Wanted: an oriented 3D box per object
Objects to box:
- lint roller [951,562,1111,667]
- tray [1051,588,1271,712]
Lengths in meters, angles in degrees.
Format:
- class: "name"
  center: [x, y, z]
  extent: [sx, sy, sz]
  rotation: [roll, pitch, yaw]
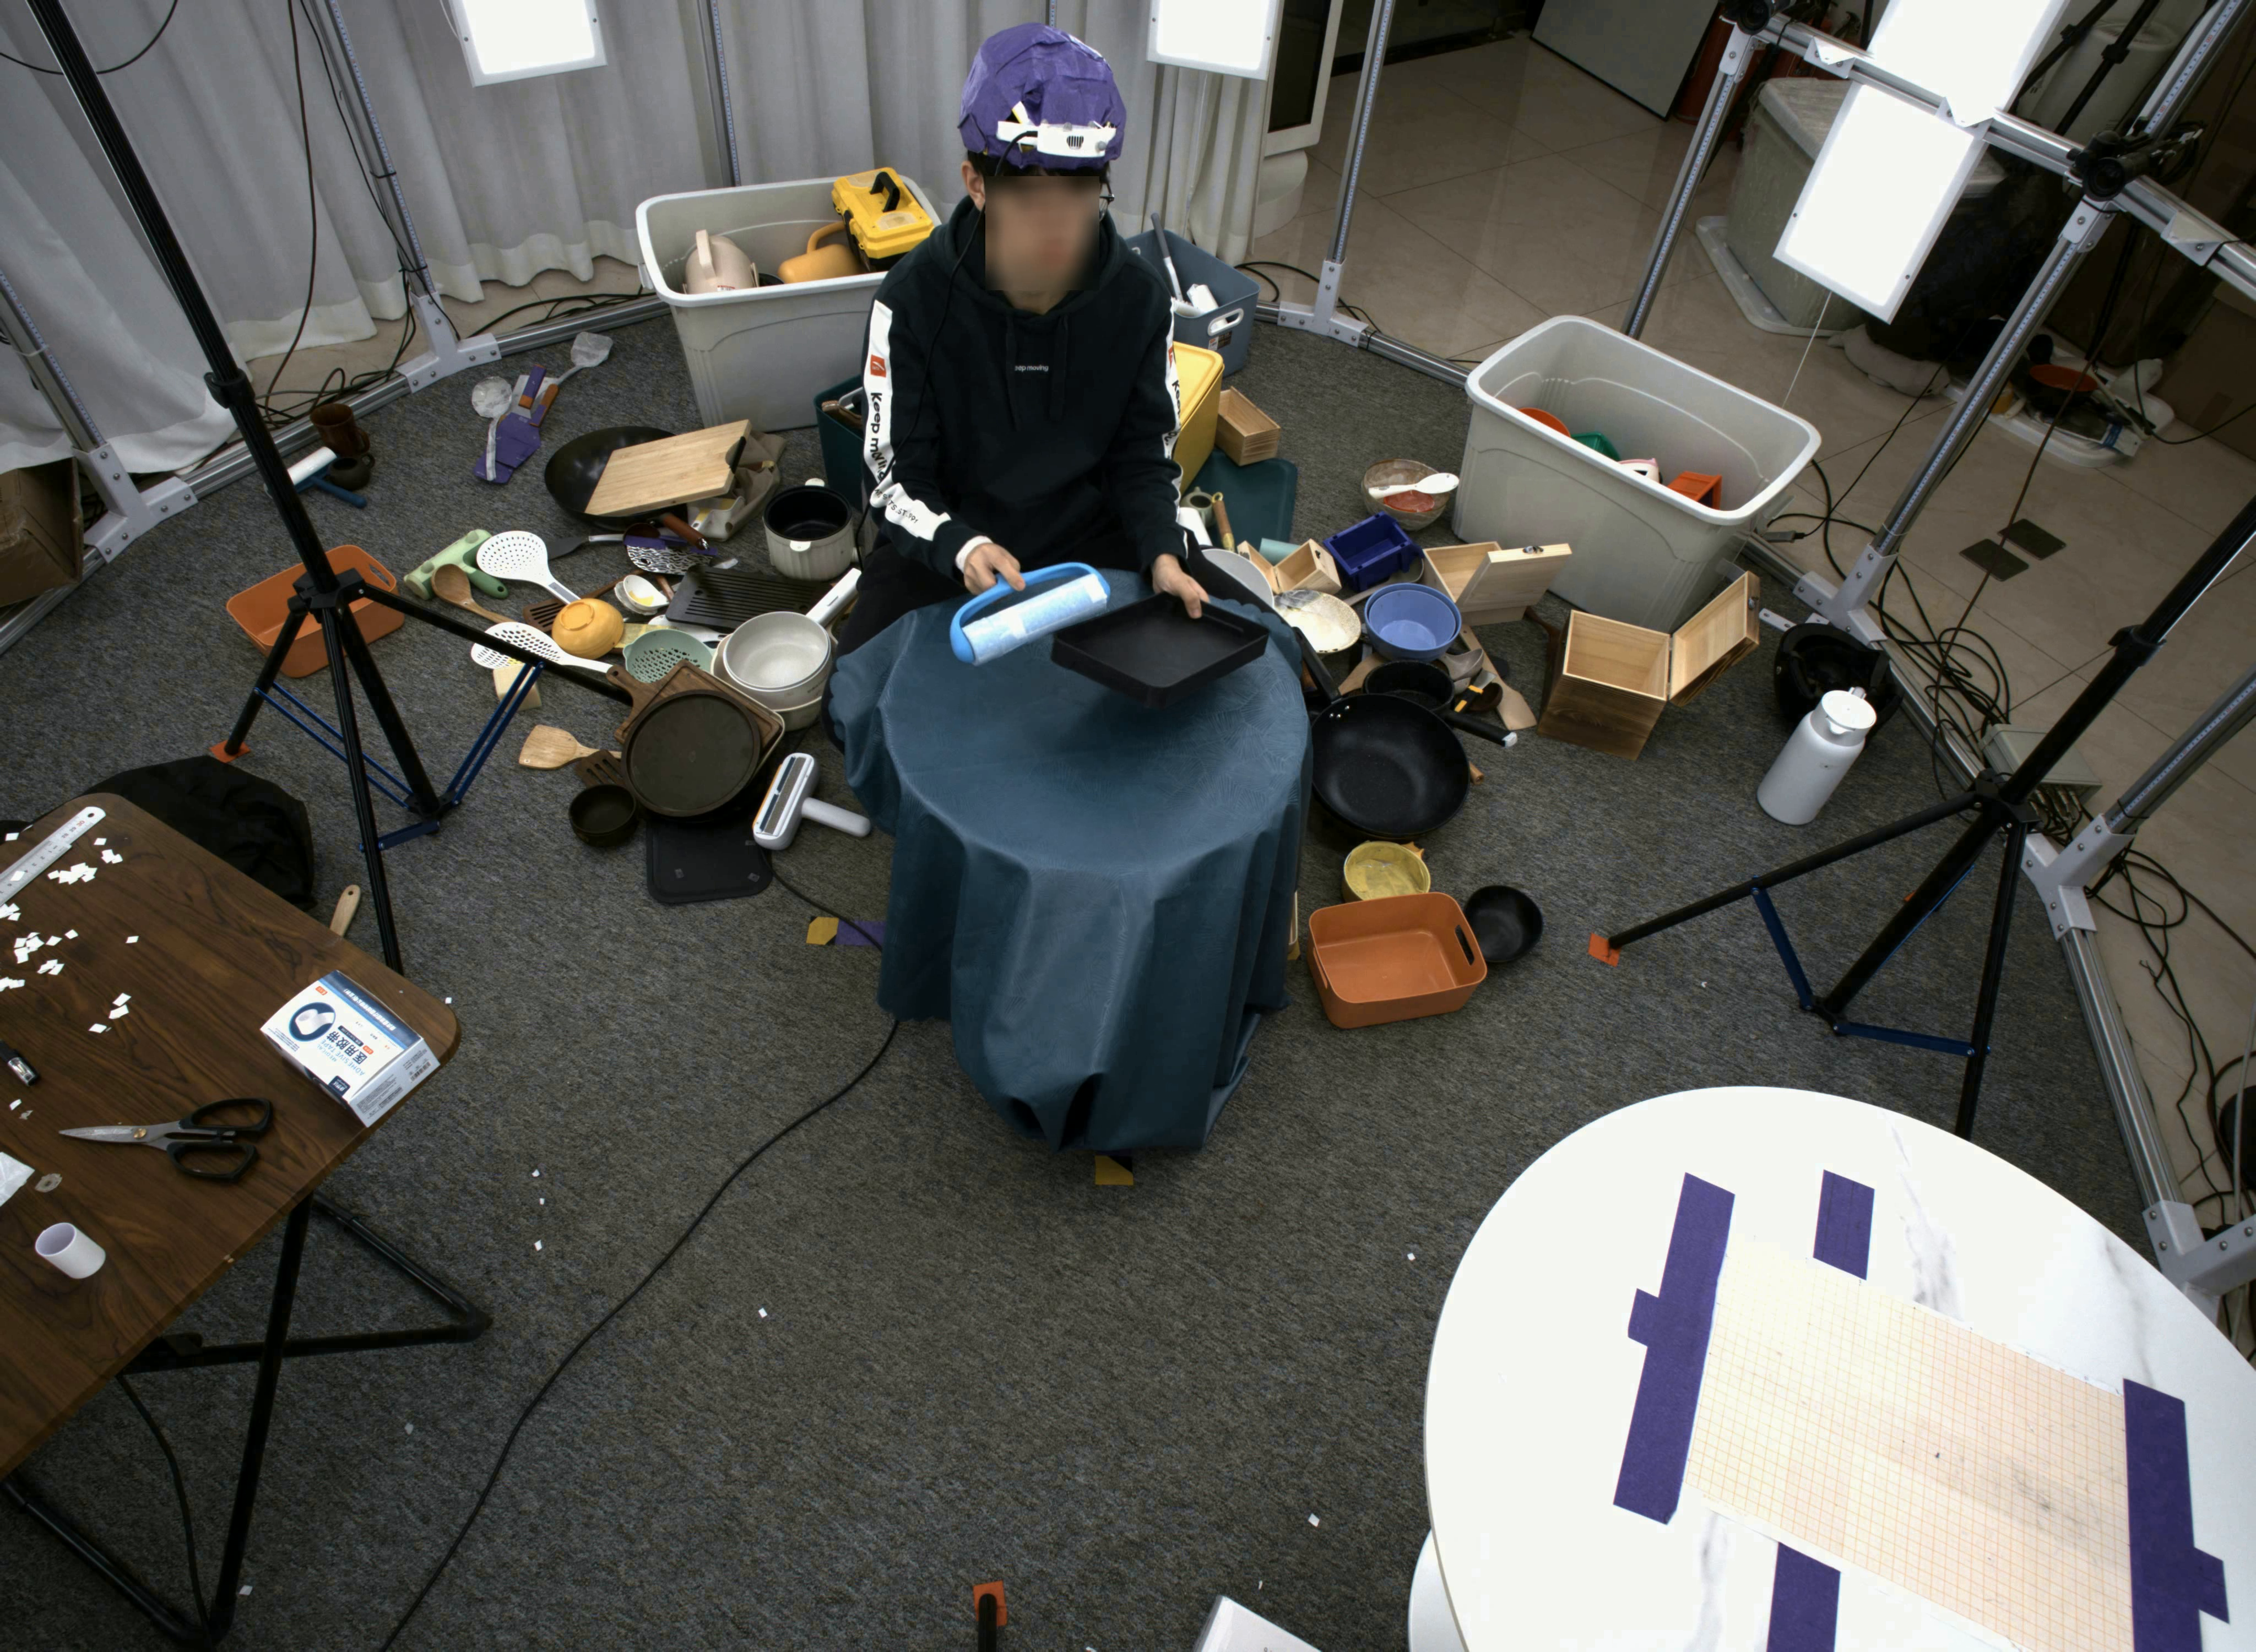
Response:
- class: "lint roller"
  center: [-0.155, -0.303, 1.720]
  extent: [0.230, 0.066, 0.184]
  rotation: [-30, 46, -17]
- class: "tray"
  center: [0.050, -0.248, 1.760]
  extent: [0.186, 0.036, 0.321]
  rotation: [25, 35, 24]
